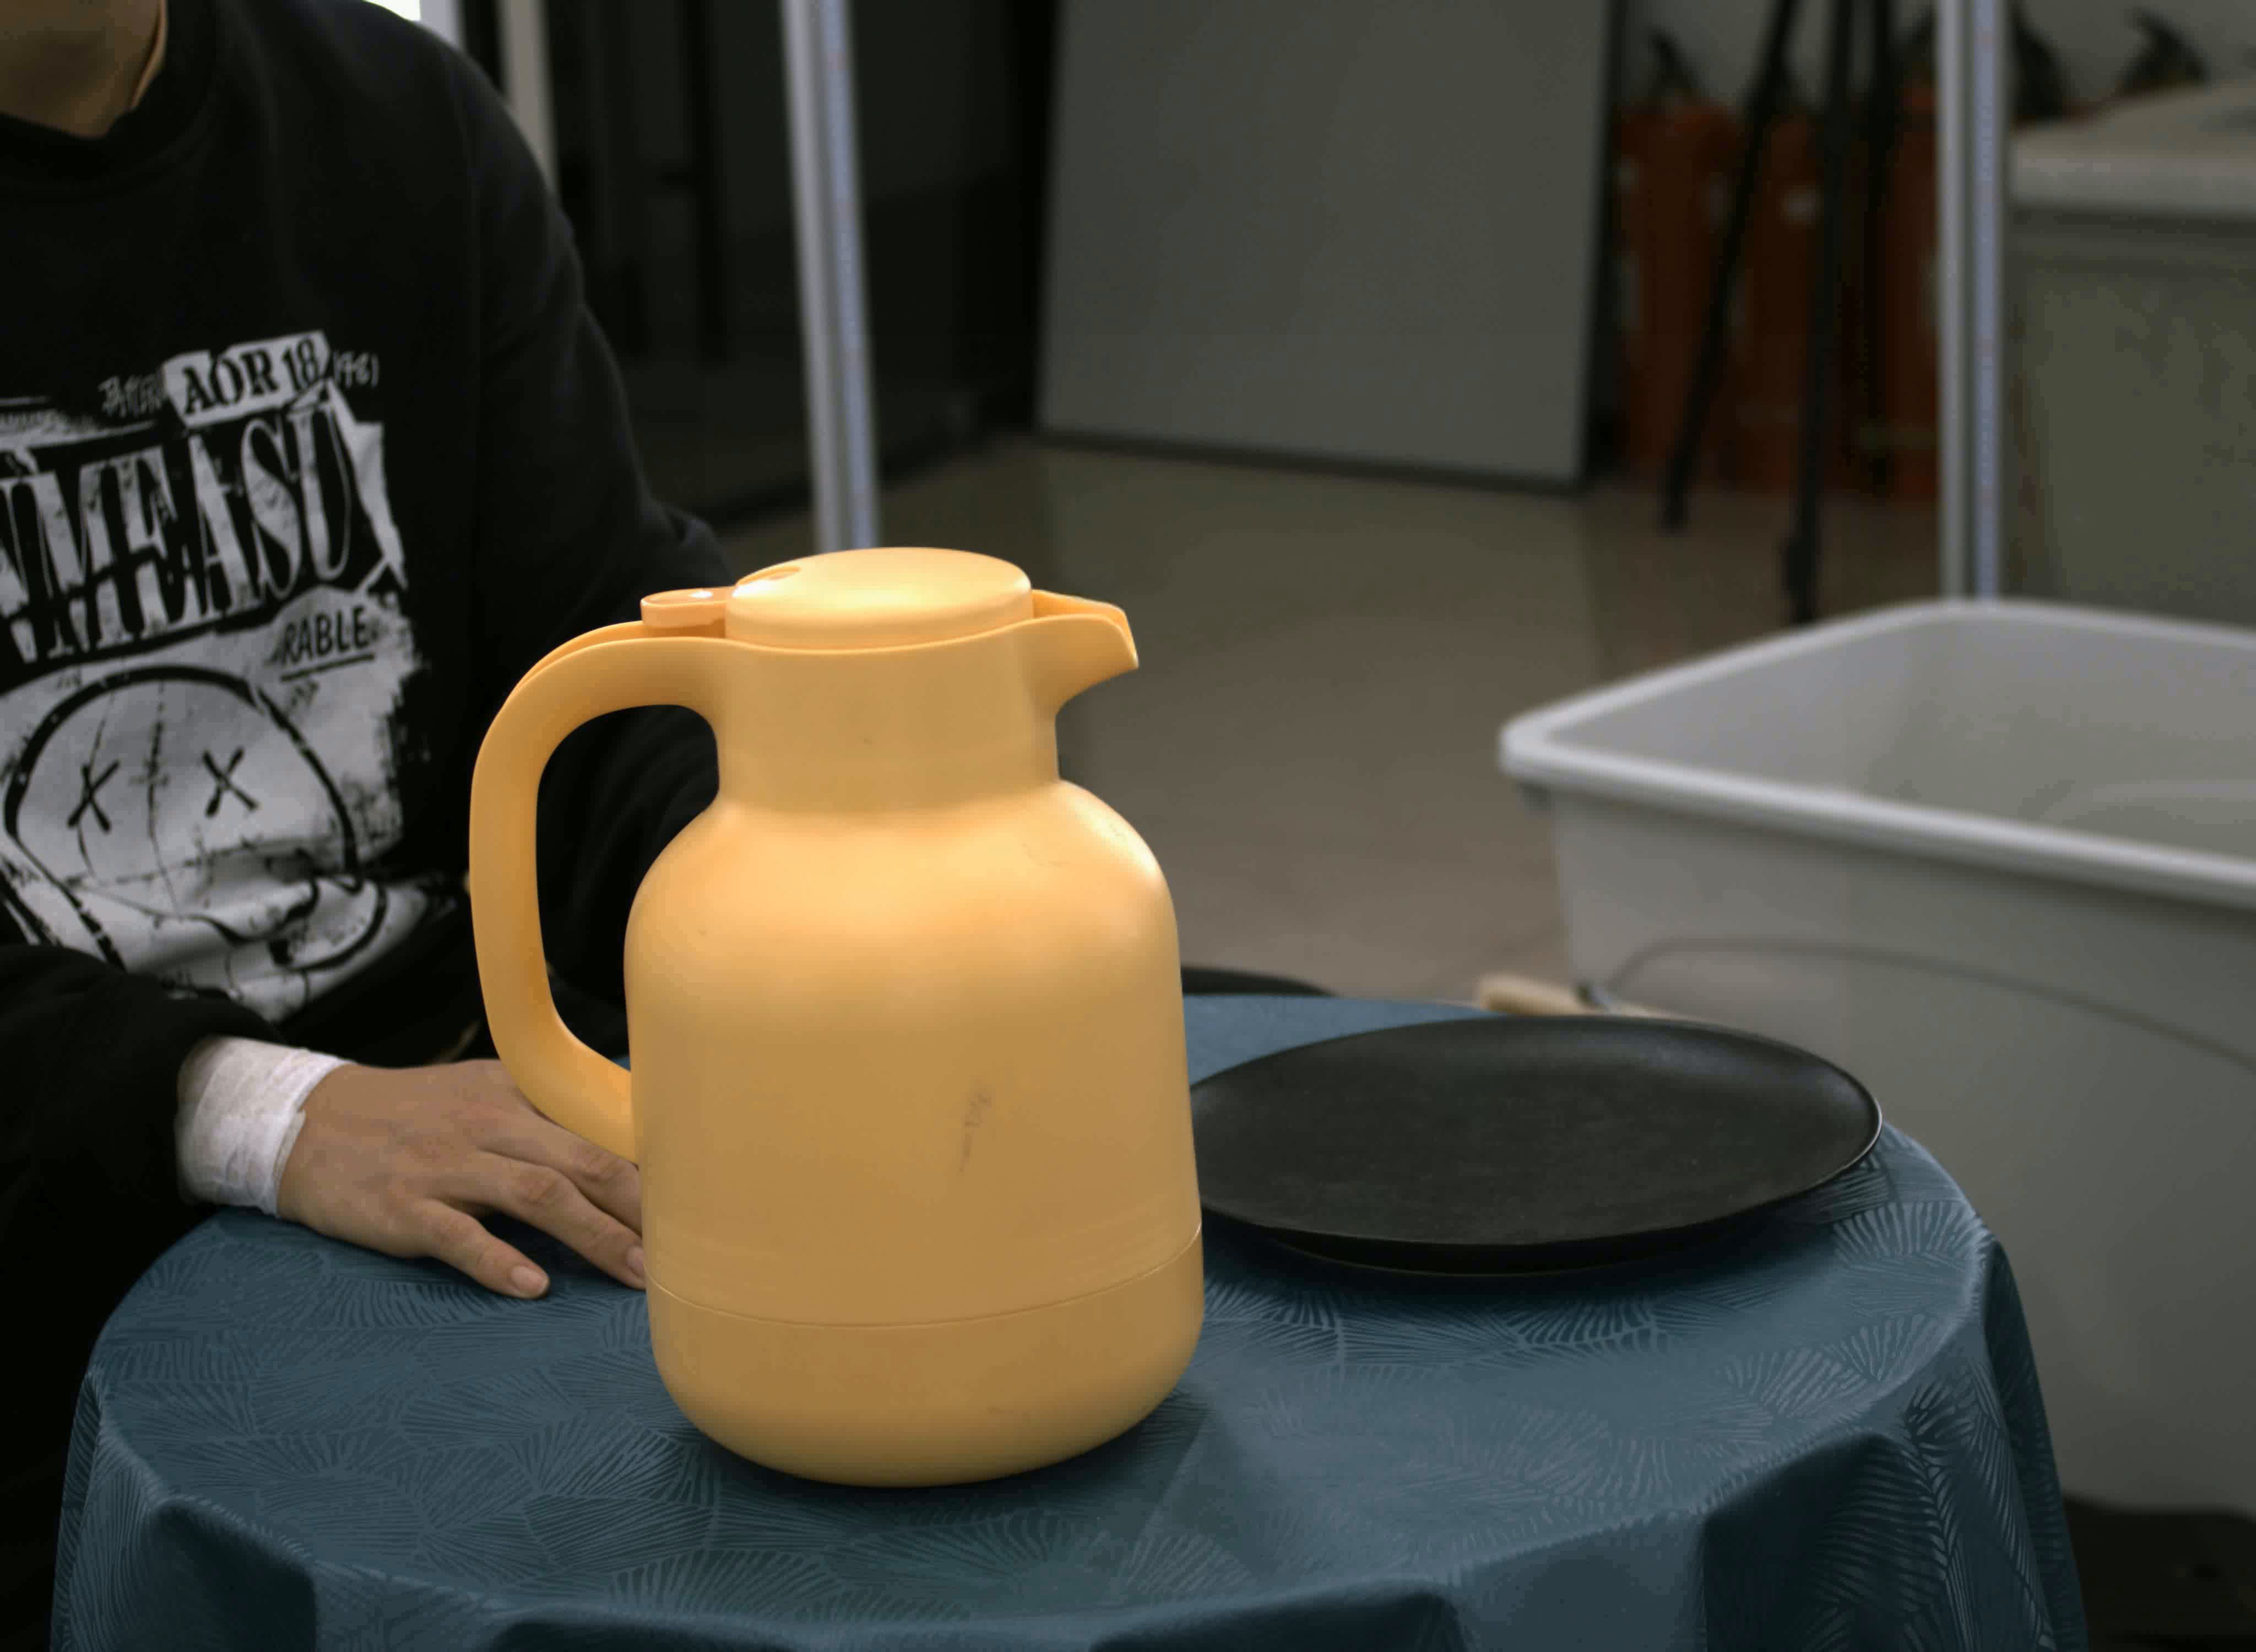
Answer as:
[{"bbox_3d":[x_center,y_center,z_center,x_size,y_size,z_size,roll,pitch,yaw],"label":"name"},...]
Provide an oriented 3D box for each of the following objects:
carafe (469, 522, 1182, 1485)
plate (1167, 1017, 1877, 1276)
[{"bbox_3d":[-0.086,0.046,1.548,0.200,0.263,0.163,0,11,6],"label":"carafe"},{"bbox_3d":[0.122,0.106,1.747,0.241,0.024,0.245,-4,14,0],"label":"plate"}]
